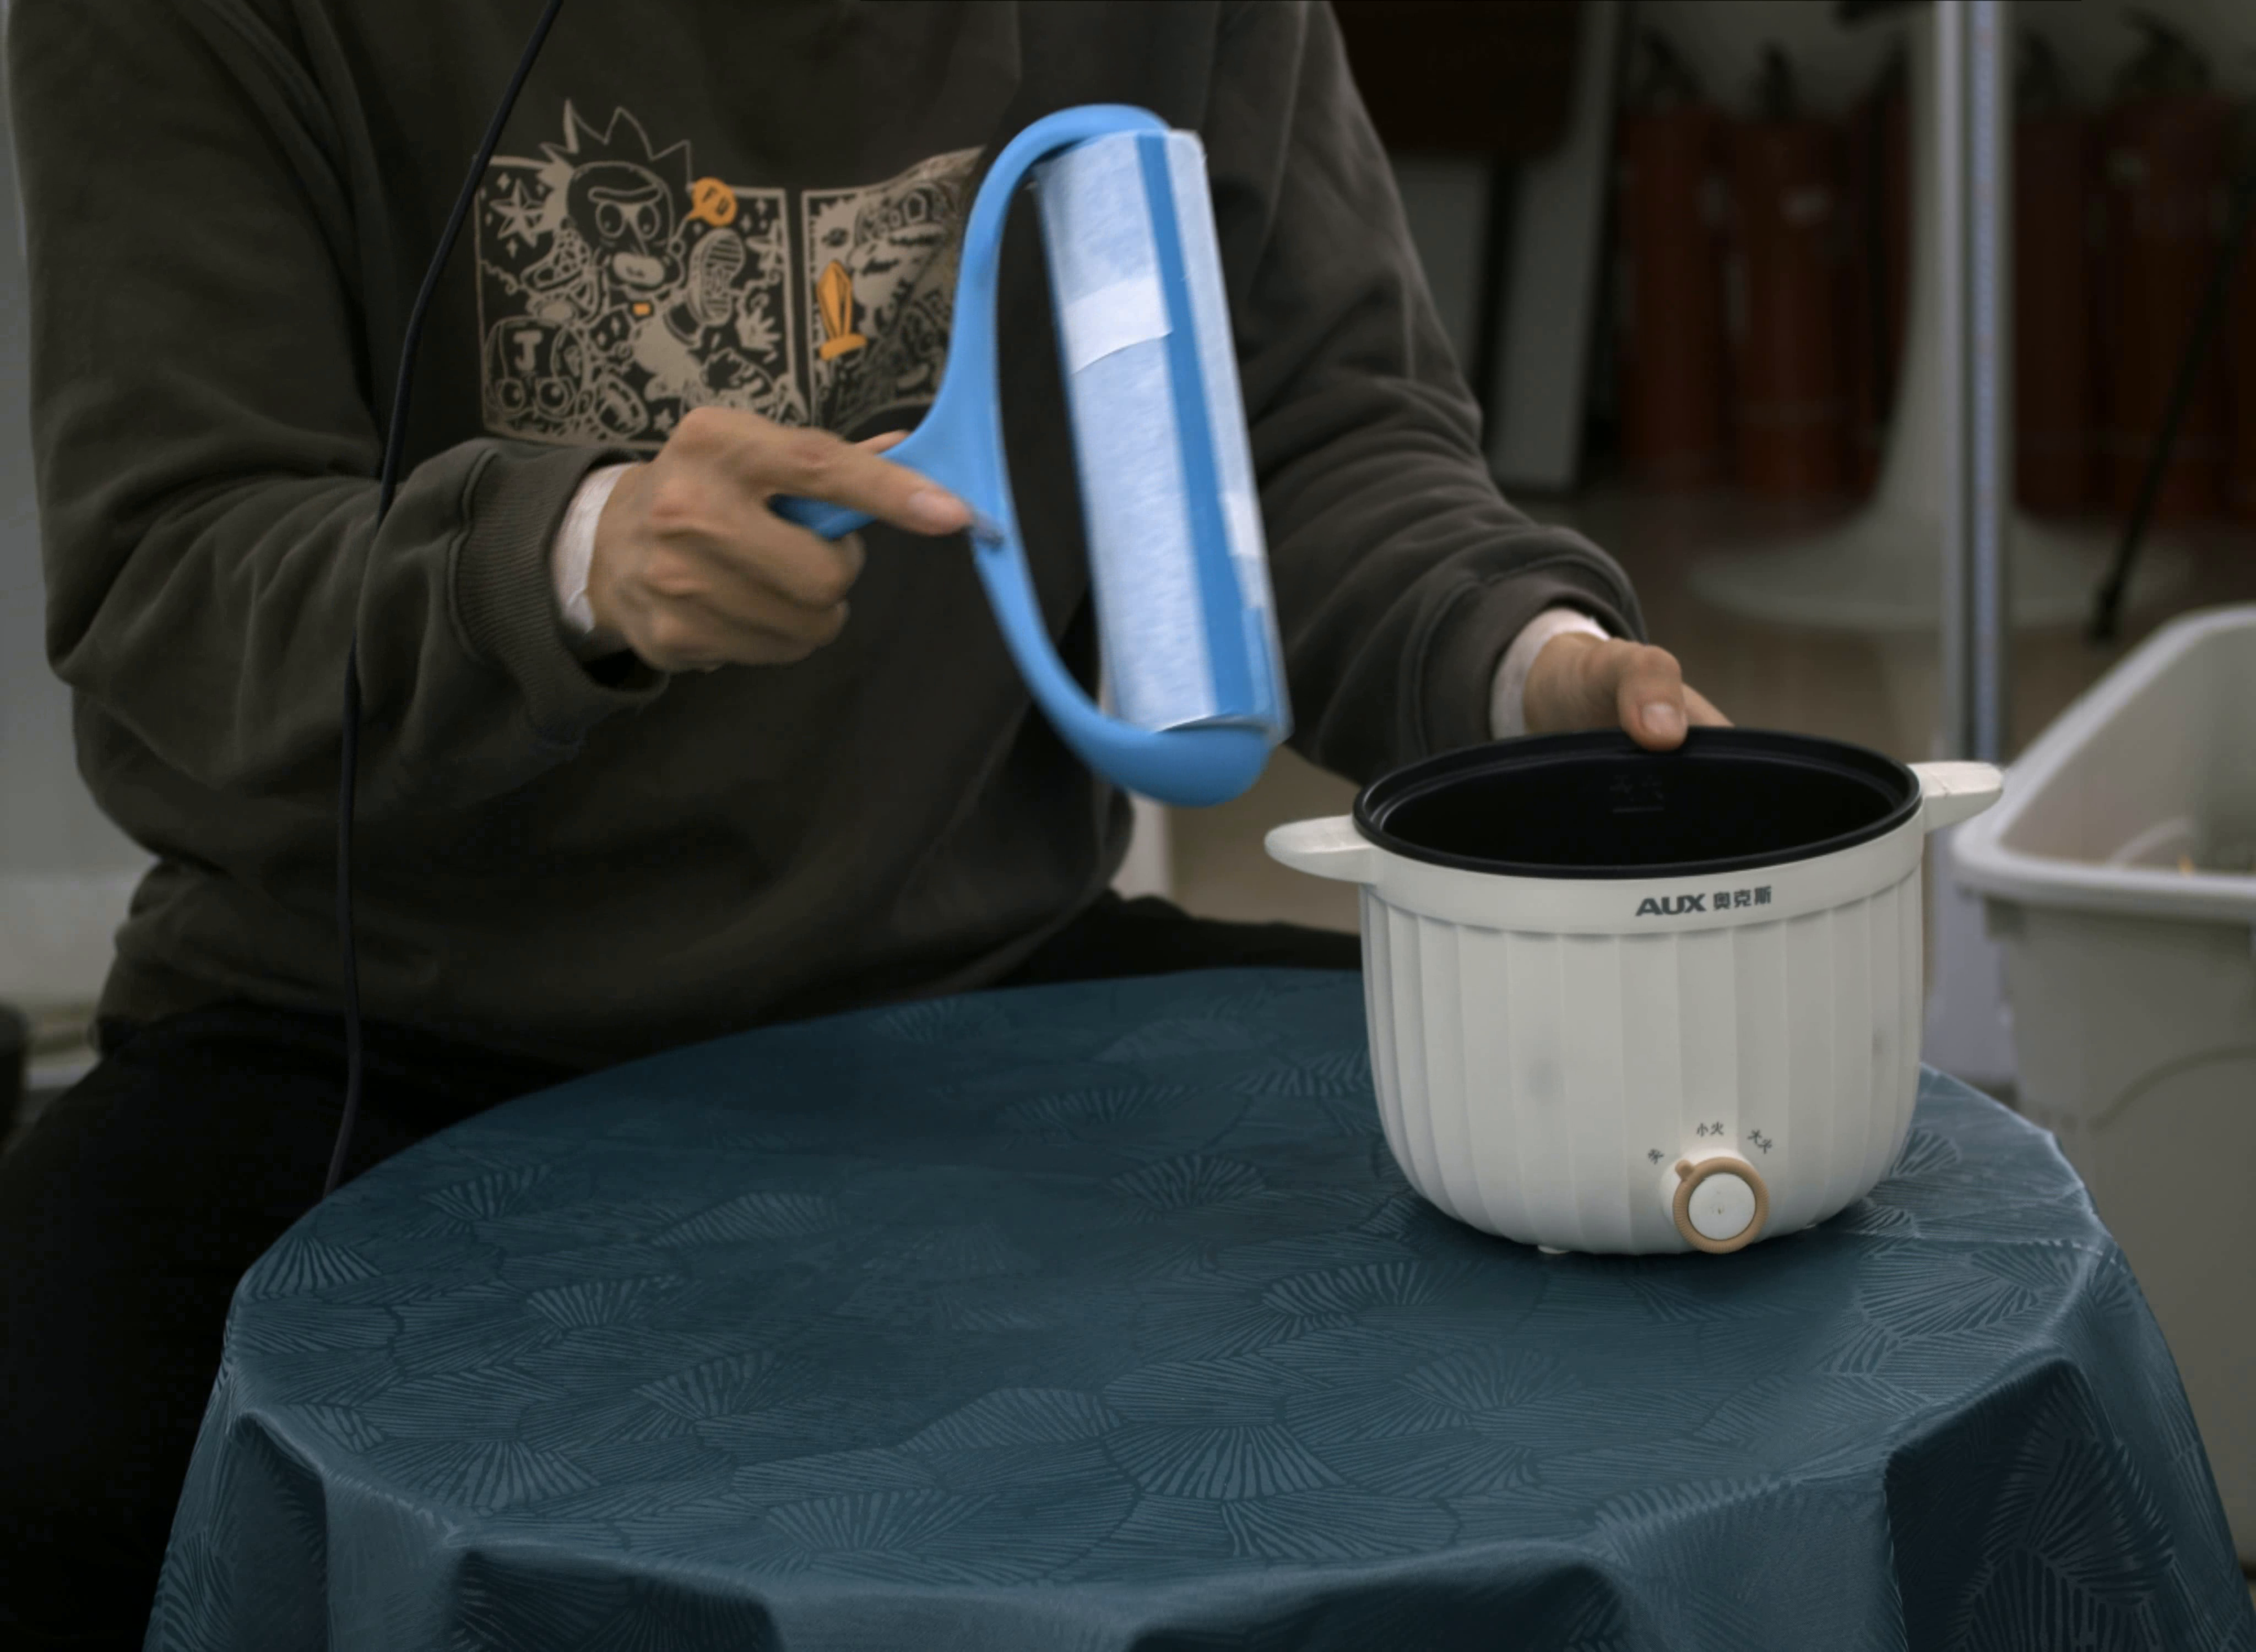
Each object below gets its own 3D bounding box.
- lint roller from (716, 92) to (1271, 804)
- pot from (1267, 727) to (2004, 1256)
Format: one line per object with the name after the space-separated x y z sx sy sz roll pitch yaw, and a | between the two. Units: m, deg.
-0.051 -0.104 1.664 0.179 0.232 0.067 -14 -18 13 | lint roller
0.167 0.055 1.705 0.236 0.144 0.191 -7 10 -6 | pot
